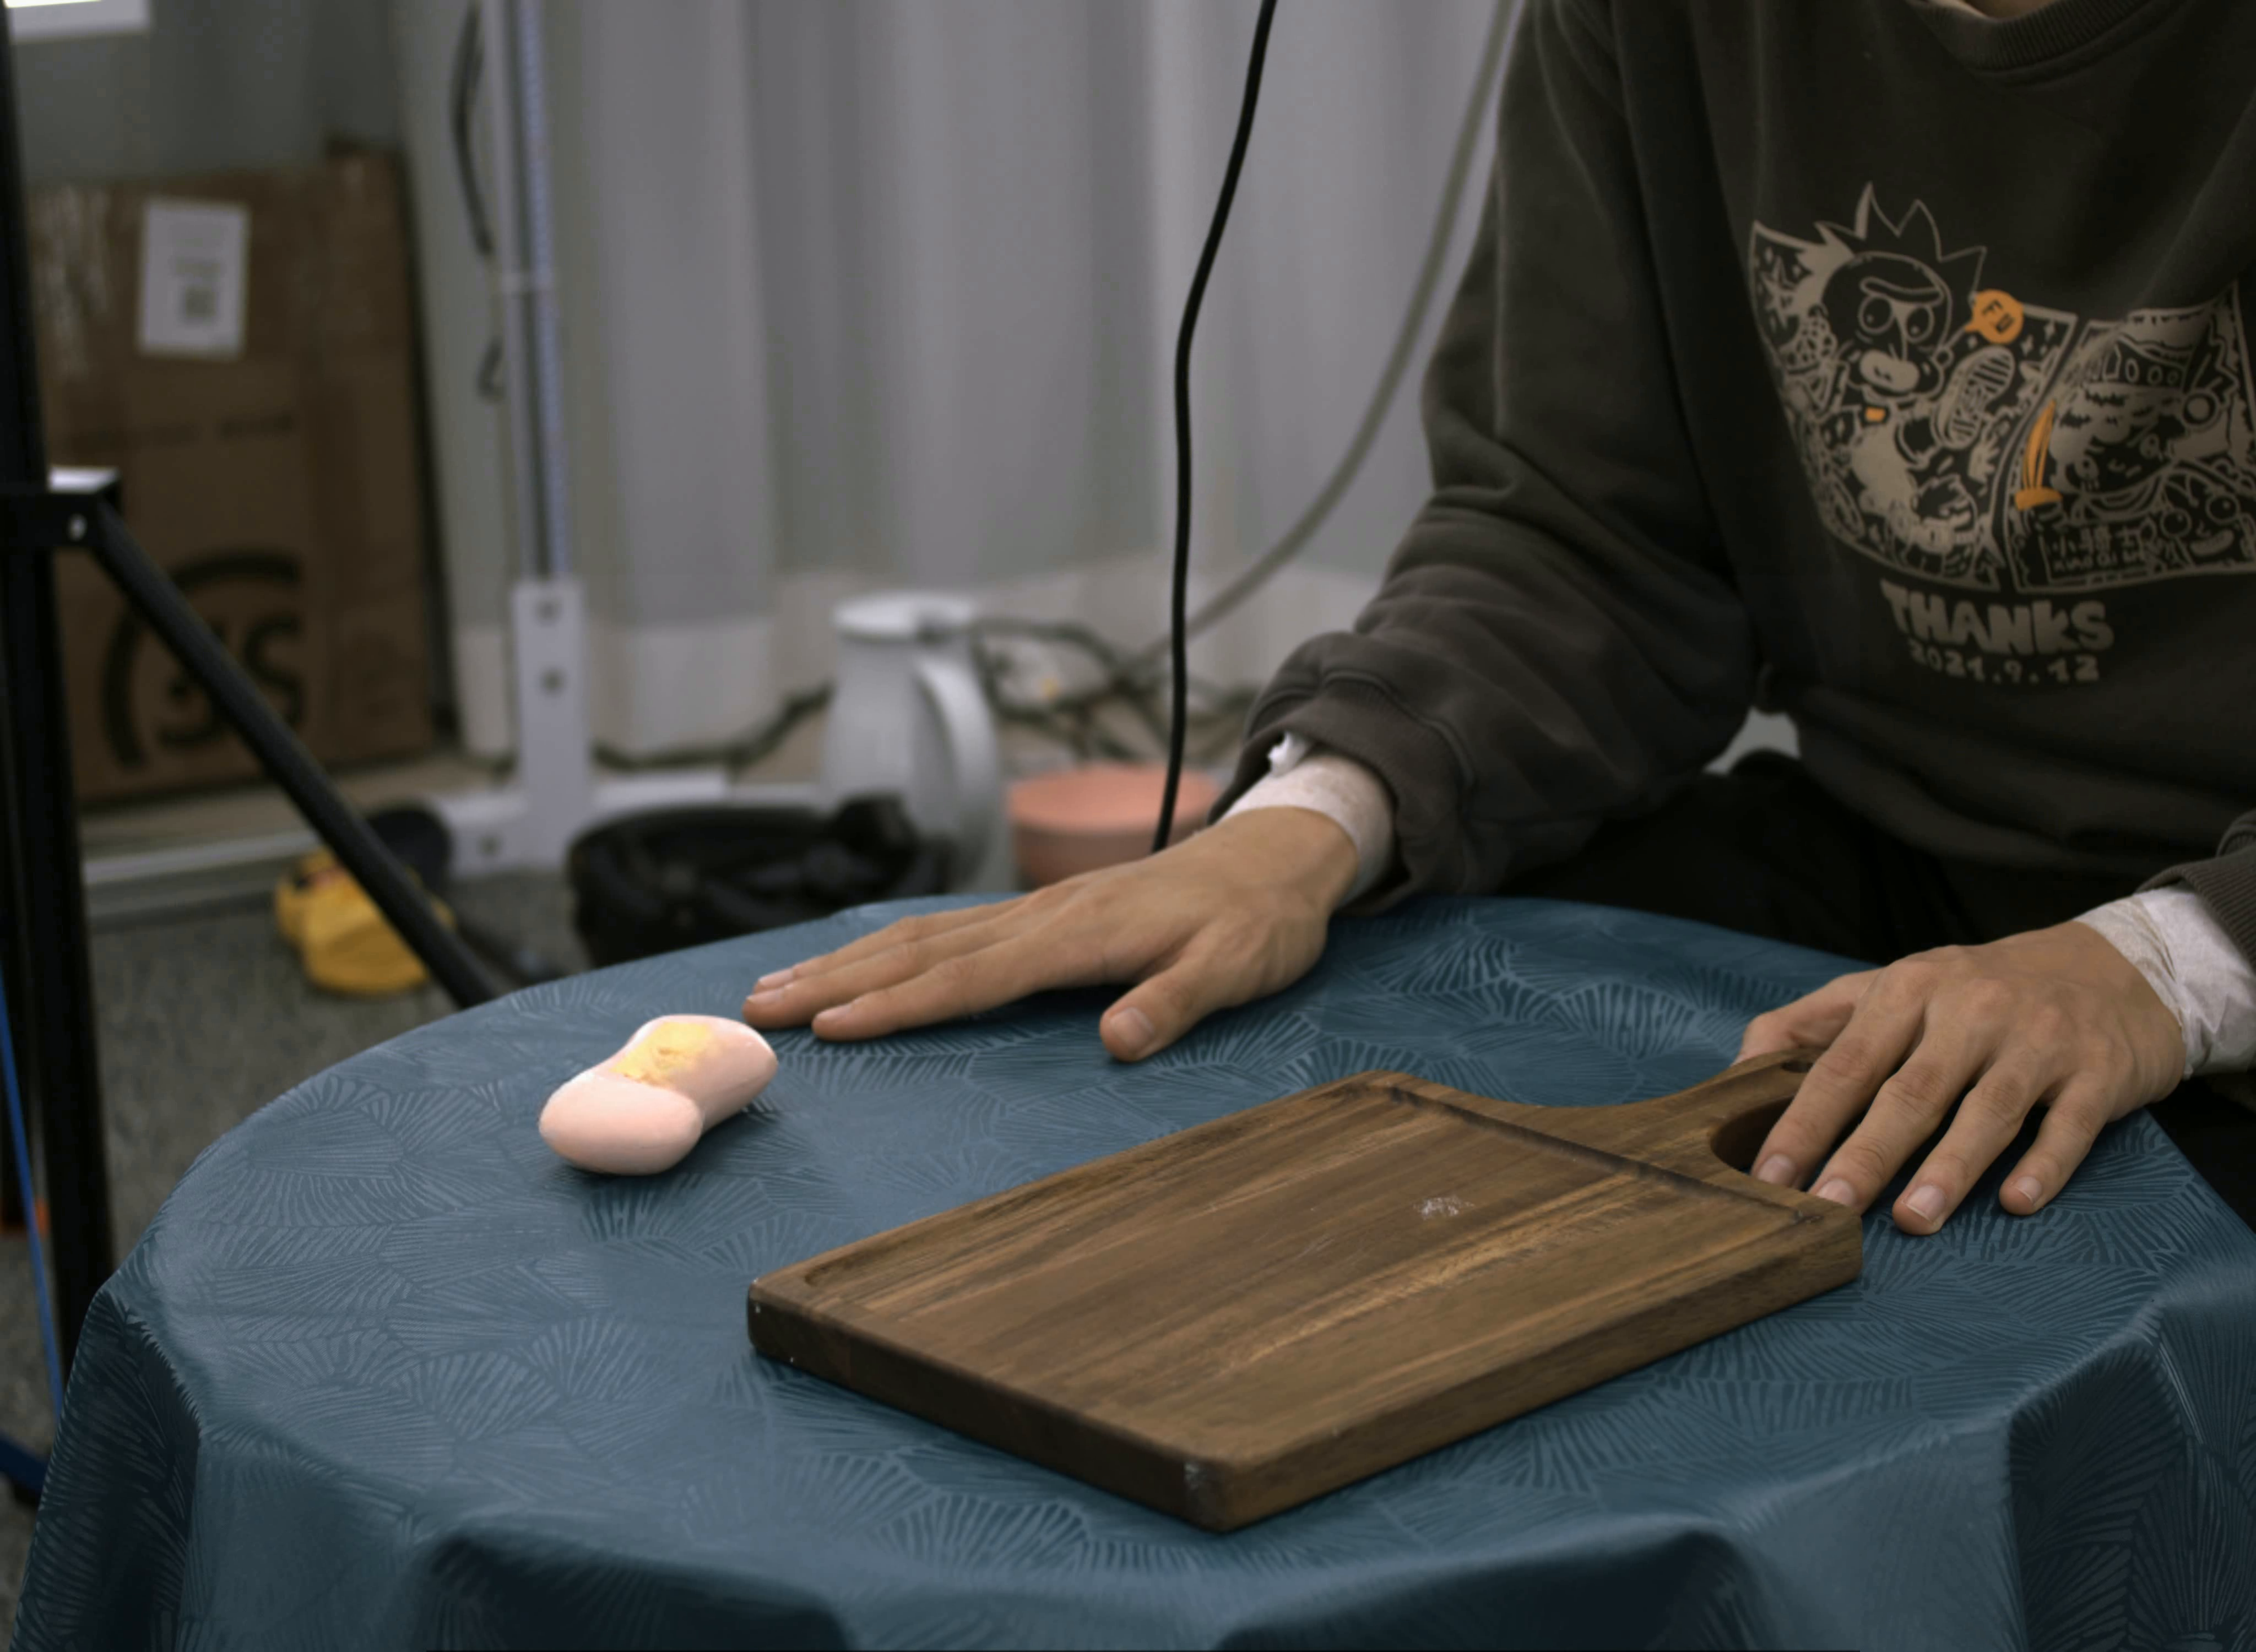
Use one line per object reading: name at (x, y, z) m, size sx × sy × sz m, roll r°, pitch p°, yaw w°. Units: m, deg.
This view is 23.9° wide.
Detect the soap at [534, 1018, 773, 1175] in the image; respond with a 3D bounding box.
soap at (-0.144, 0.082, 1.627) m, size 0.051 × 0.030 × 0.093 m, roll 4°, pitch 15°, yaw 20°

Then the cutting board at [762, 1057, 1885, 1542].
cutting board at (0.091, 0.117, 1.477) m, size 0.344 × 0.023 × 0.206 m, roll -15°, pitch 20°, yaw -38°
